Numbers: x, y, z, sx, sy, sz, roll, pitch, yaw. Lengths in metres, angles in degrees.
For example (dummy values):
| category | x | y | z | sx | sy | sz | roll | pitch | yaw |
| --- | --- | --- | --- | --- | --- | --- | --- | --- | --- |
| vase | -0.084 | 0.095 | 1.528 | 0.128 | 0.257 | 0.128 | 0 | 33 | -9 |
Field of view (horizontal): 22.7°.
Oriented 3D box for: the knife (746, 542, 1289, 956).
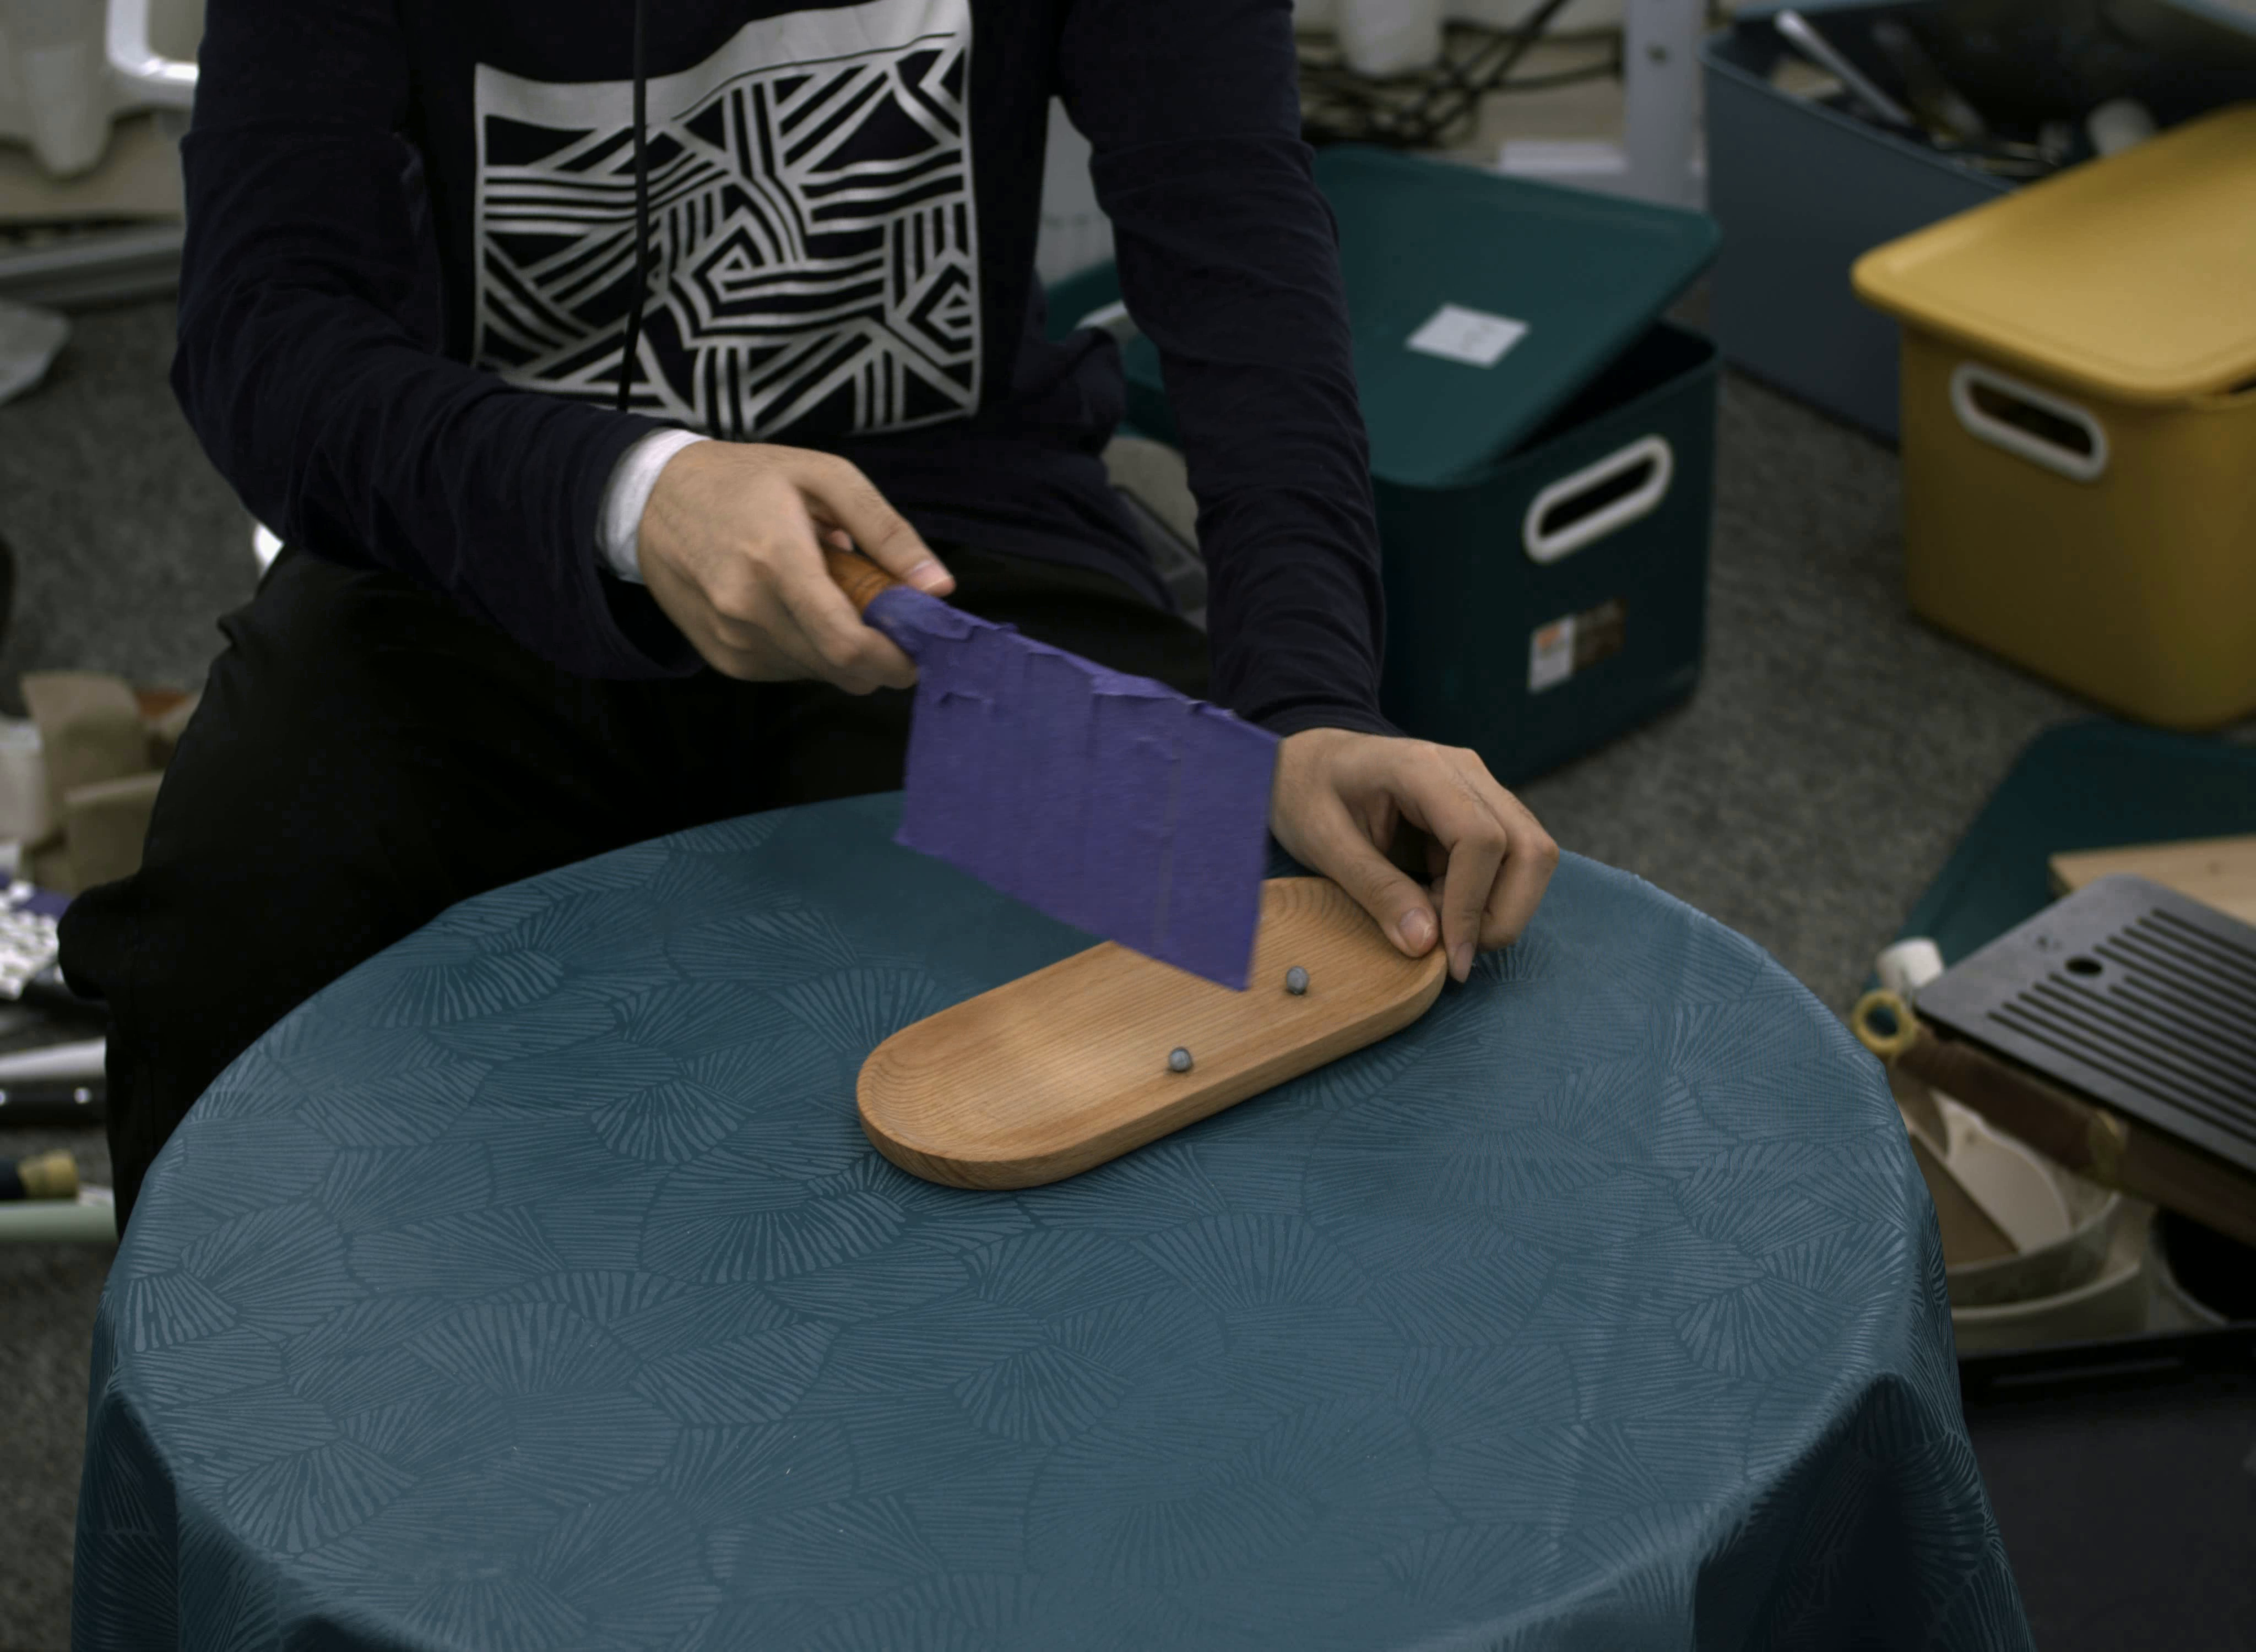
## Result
| category | x | y | z | sx | sy | sz | roll | pitch | yaw |
| --- | --- | --- | --- | --- | --- | --- | --- | --- | --- |
| knife | -0.044 | -0.027 | 1.951 | 0.032 | 0.103 | 0.315 | 1 | 12 | -35 |

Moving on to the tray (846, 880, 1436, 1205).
| category | x | y | z | sx | sy | sz | roll | pitch | yaw |
| --- | --- | --- | --- | --- | --- | --- | --- | --- | --- |
| tray | 0.006 | 0.074 | 1.936 | 0.233 | 0.020 | 0.102 | -25 | 34 | -31 |
